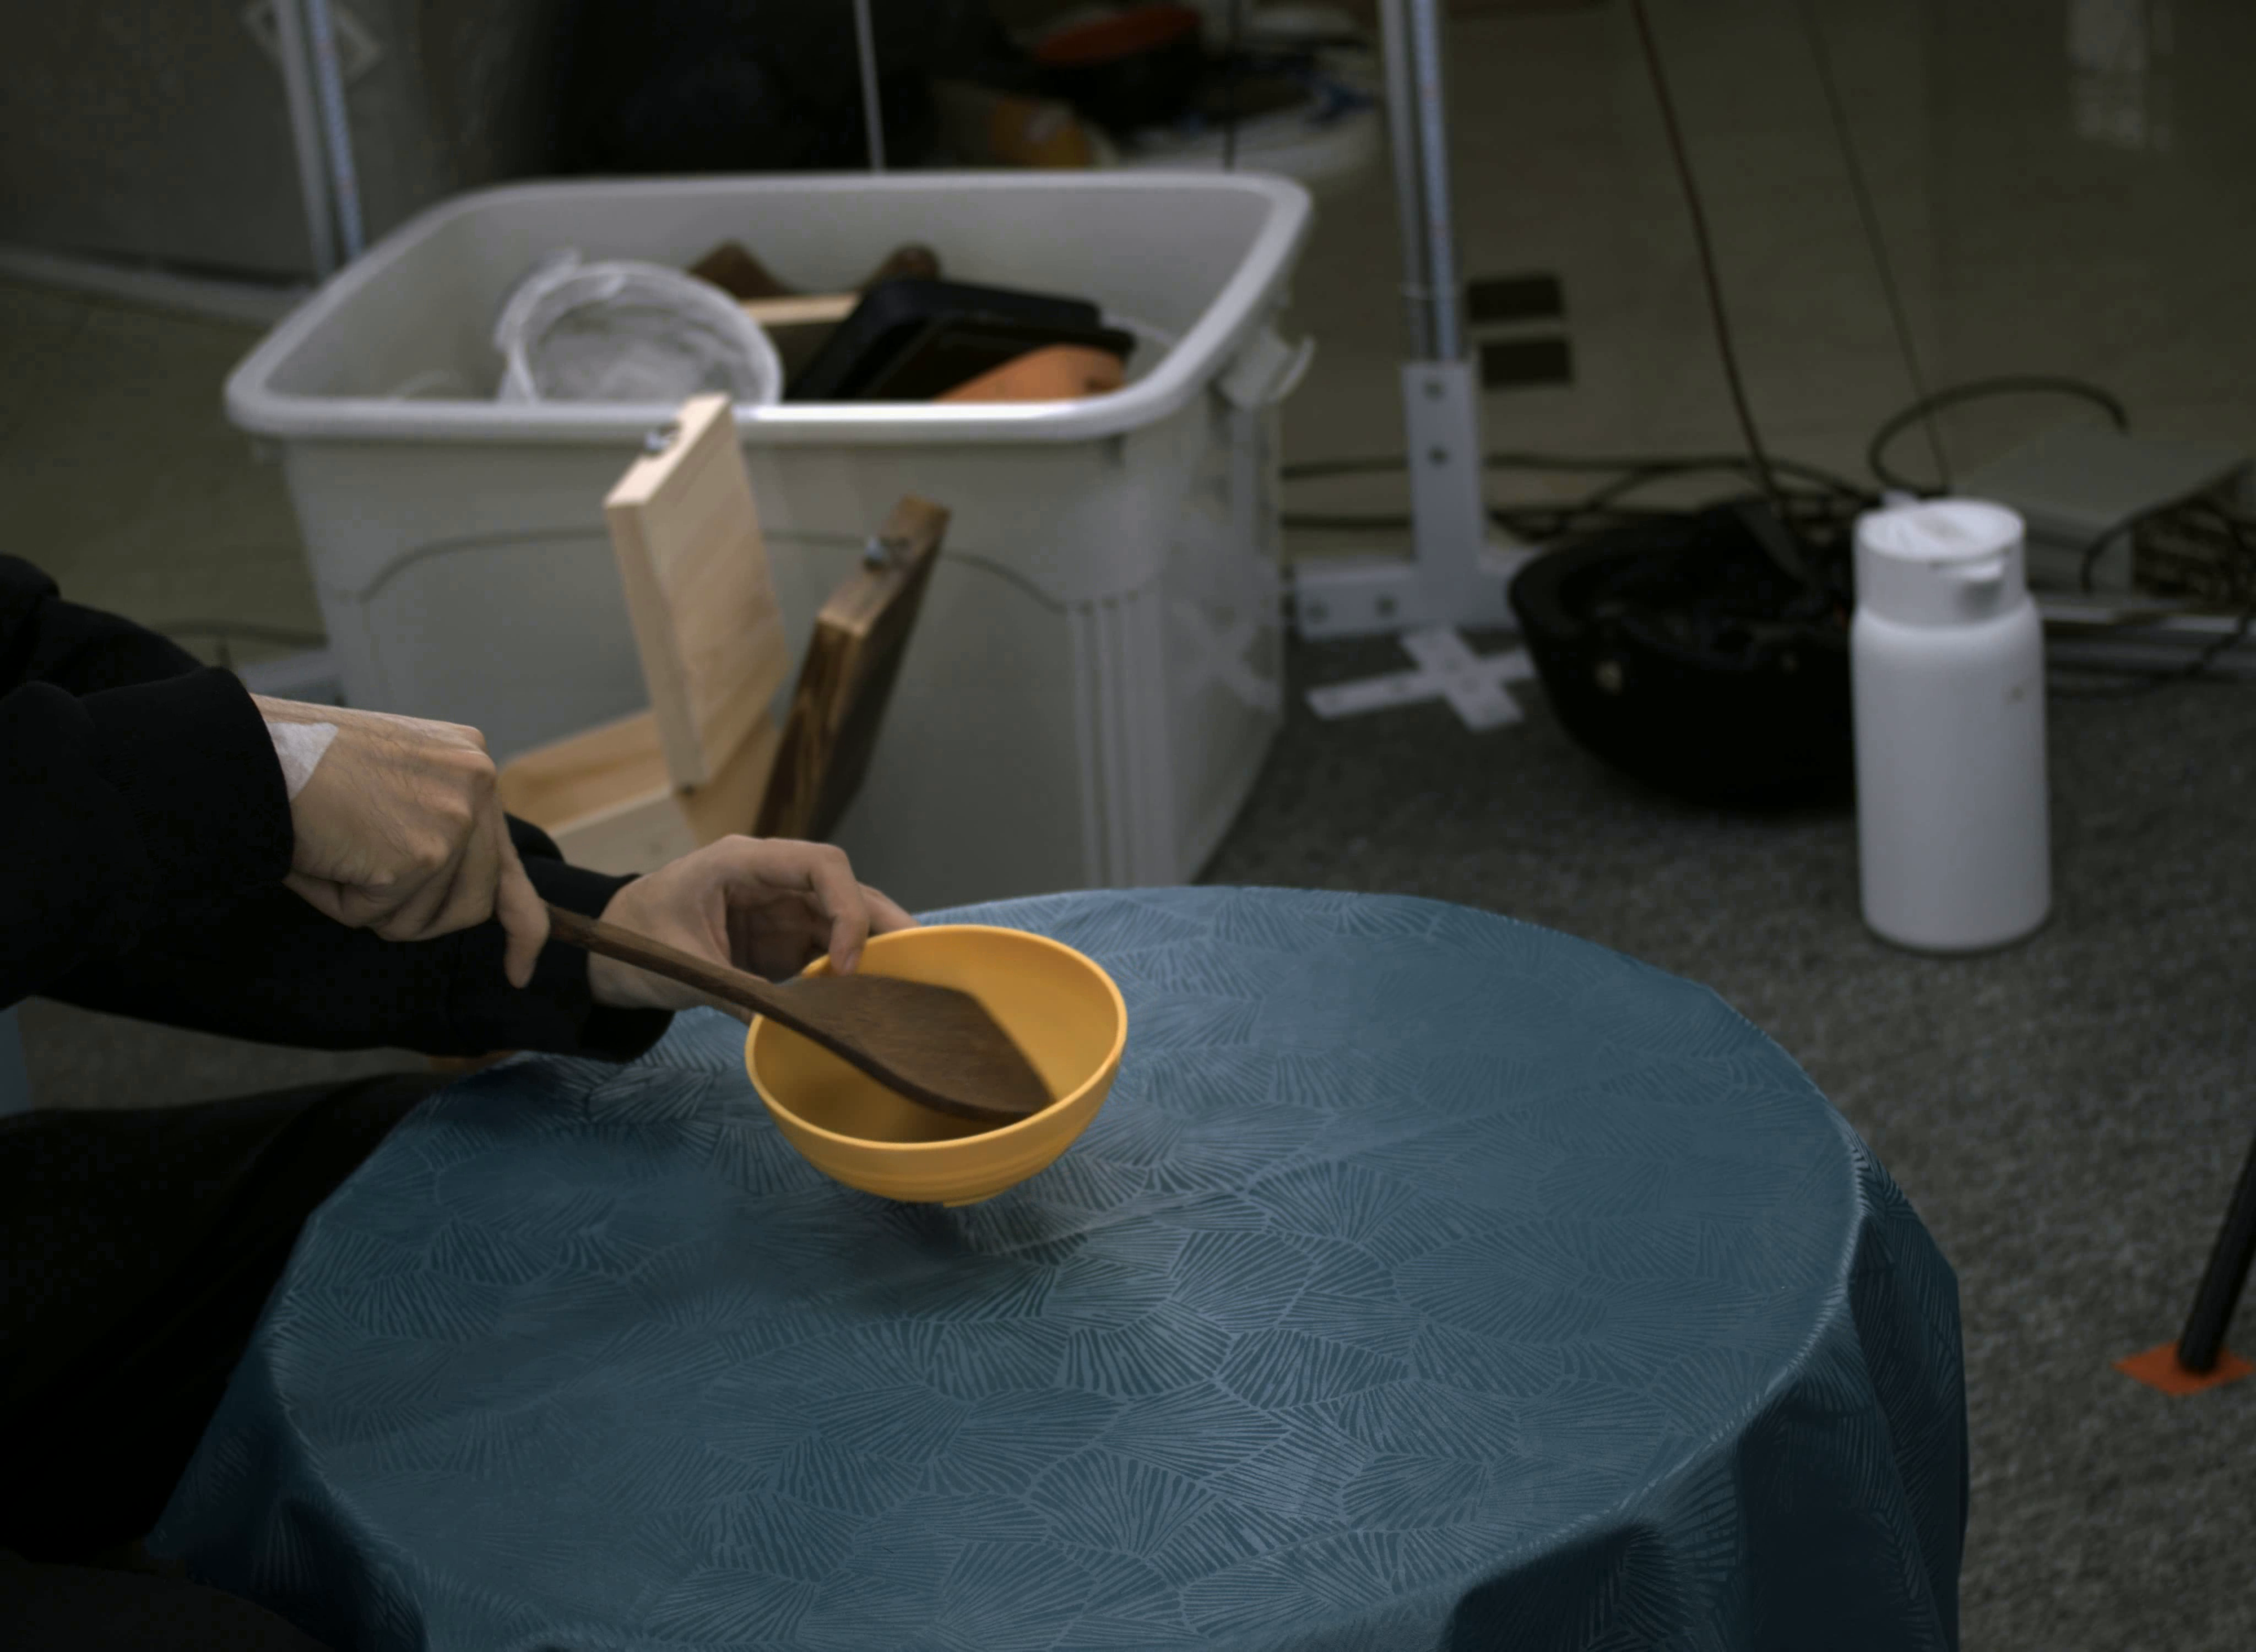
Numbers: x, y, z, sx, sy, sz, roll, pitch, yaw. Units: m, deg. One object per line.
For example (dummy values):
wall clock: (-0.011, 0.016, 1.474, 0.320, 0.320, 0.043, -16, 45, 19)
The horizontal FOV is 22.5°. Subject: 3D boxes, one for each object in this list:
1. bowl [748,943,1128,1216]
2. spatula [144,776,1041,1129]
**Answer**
bowl: (-0.069, 0.105, 2.146, 0.145, 0.061, 0.143, -5, 31, 3)
spatula: (-0.188, 0.043, 2.057, 0.388, 0.016, 0.094, 21, 20, -36)
